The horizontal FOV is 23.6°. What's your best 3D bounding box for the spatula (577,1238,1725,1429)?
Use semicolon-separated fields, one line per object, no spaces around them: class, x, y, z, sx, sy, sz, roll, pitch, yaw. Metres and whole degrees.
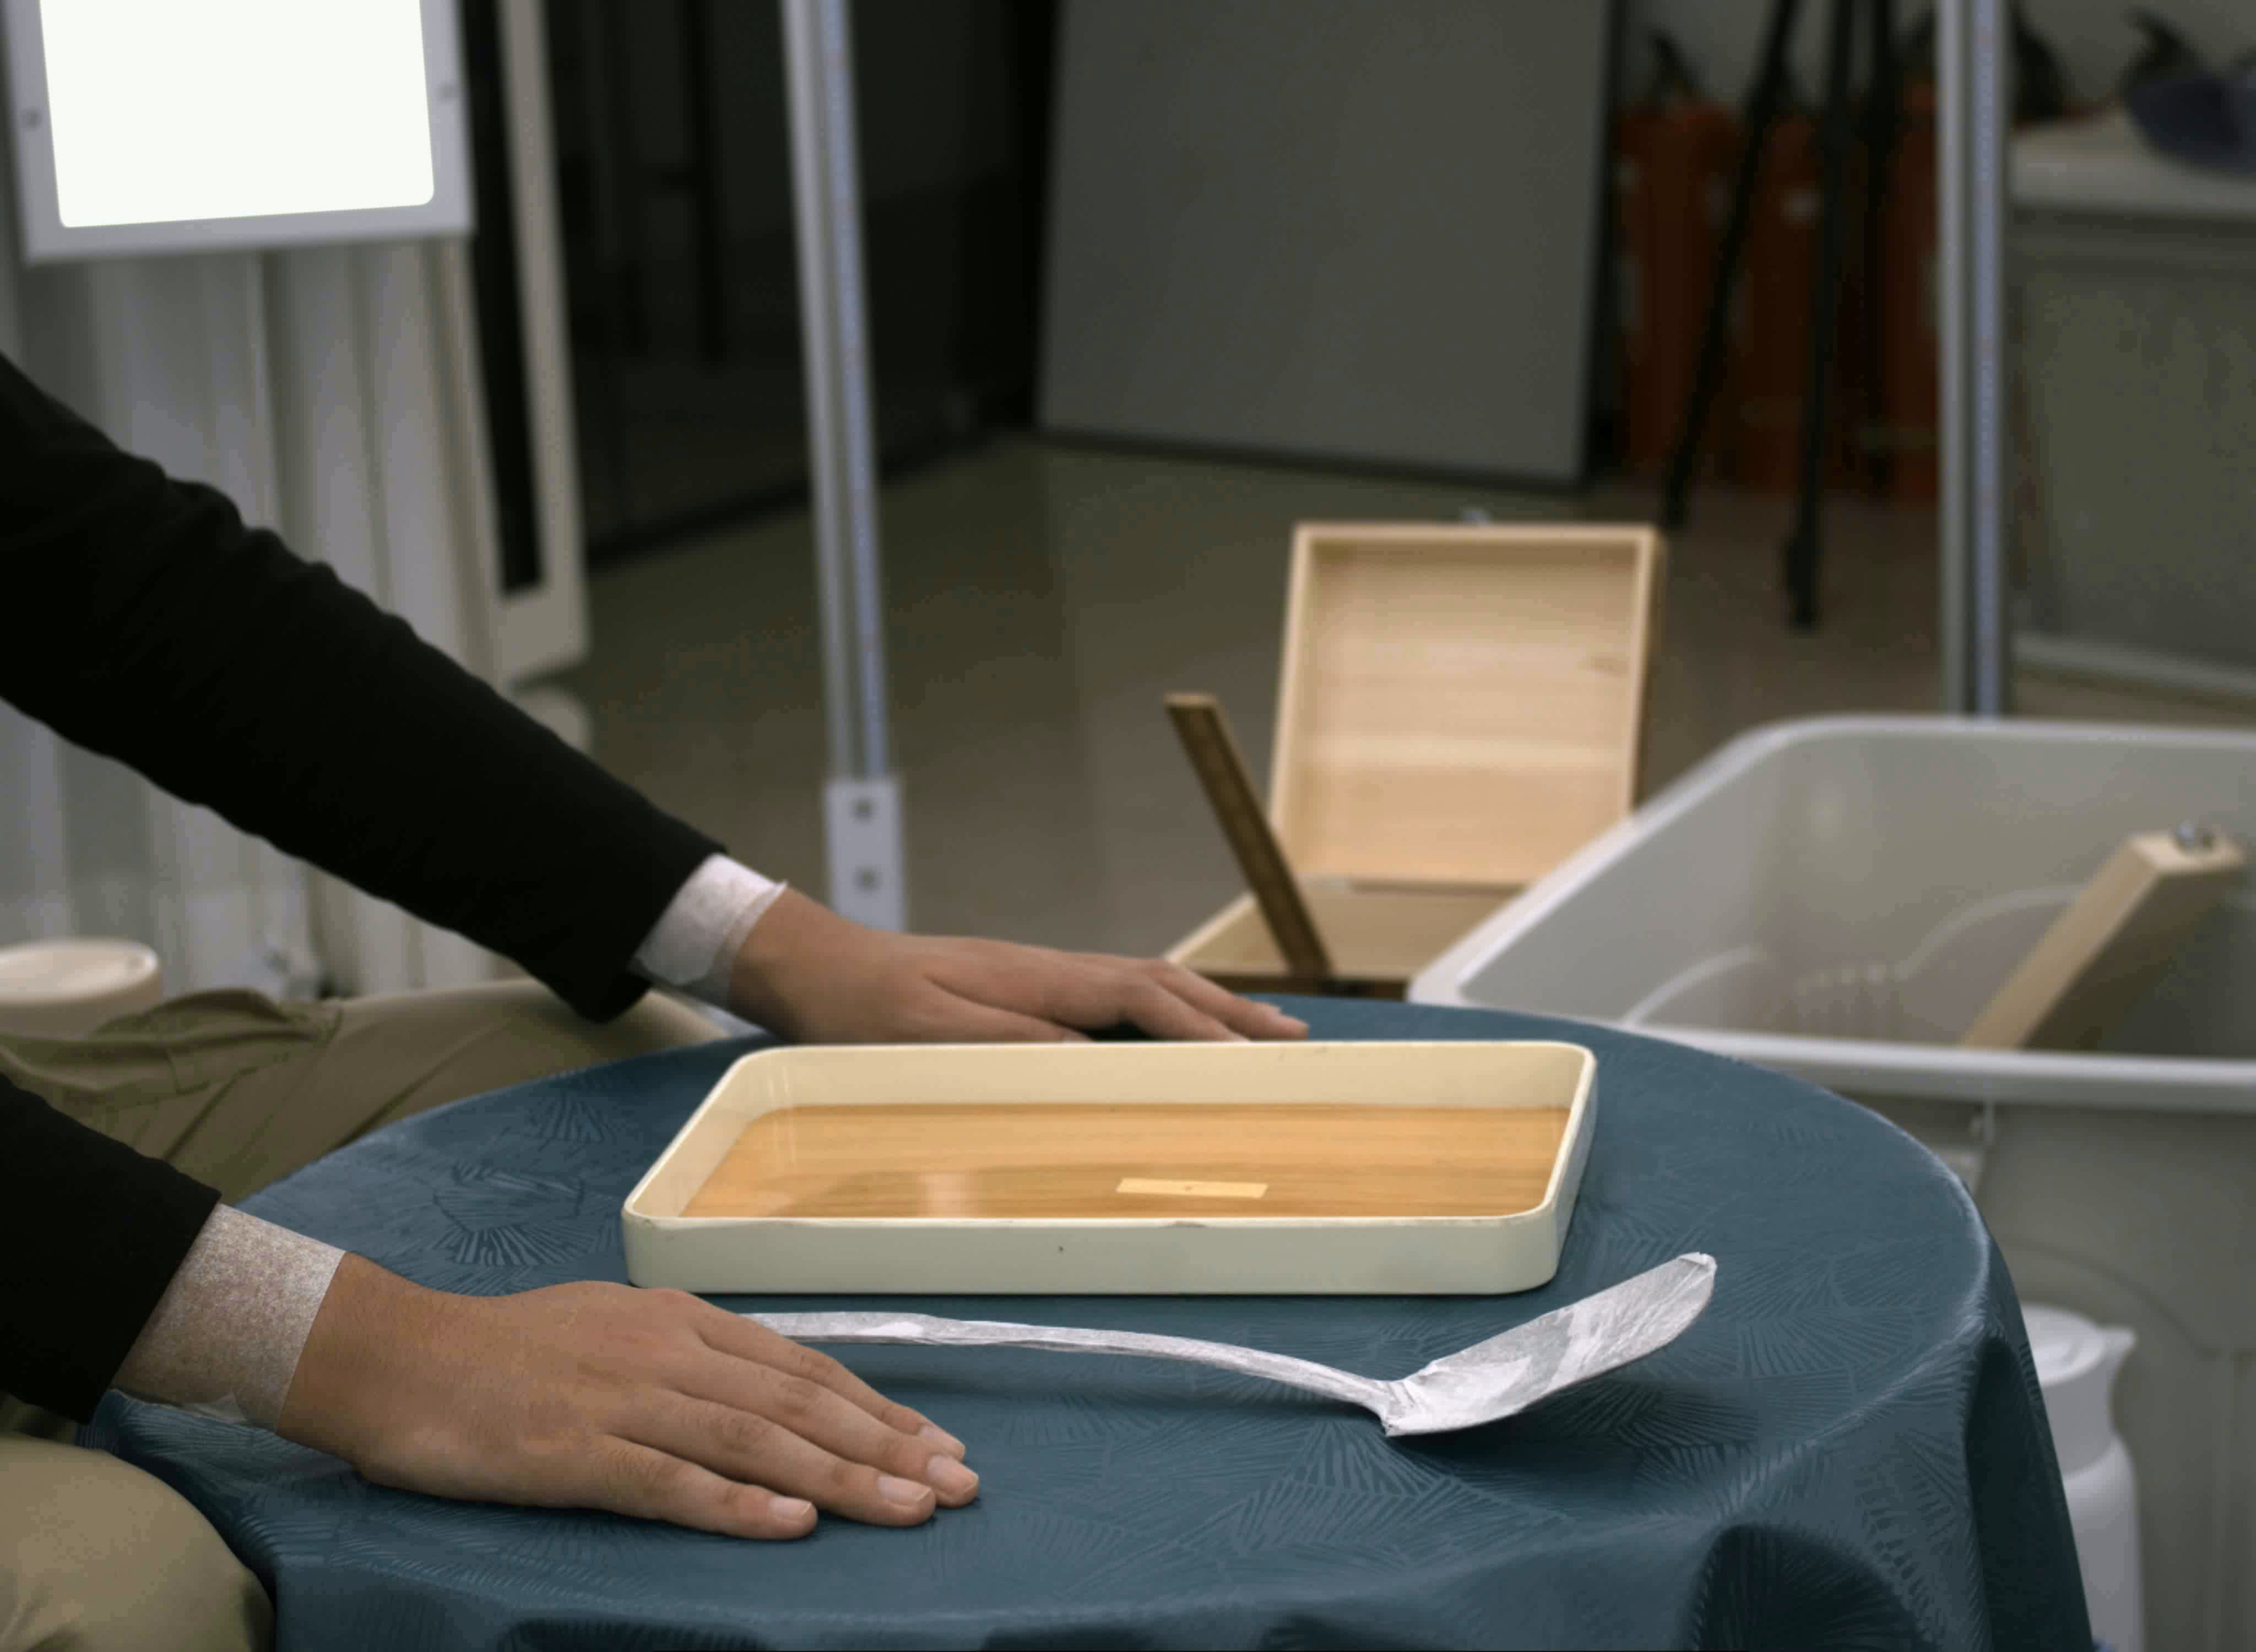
spatula;-0.003;0.148;1.582;0.364;0.045;0.098;1;15;20

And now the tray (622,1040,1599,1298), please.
tray;-0.001;0.111;1.755;0.298;0.028;0.190;-1;14;12
